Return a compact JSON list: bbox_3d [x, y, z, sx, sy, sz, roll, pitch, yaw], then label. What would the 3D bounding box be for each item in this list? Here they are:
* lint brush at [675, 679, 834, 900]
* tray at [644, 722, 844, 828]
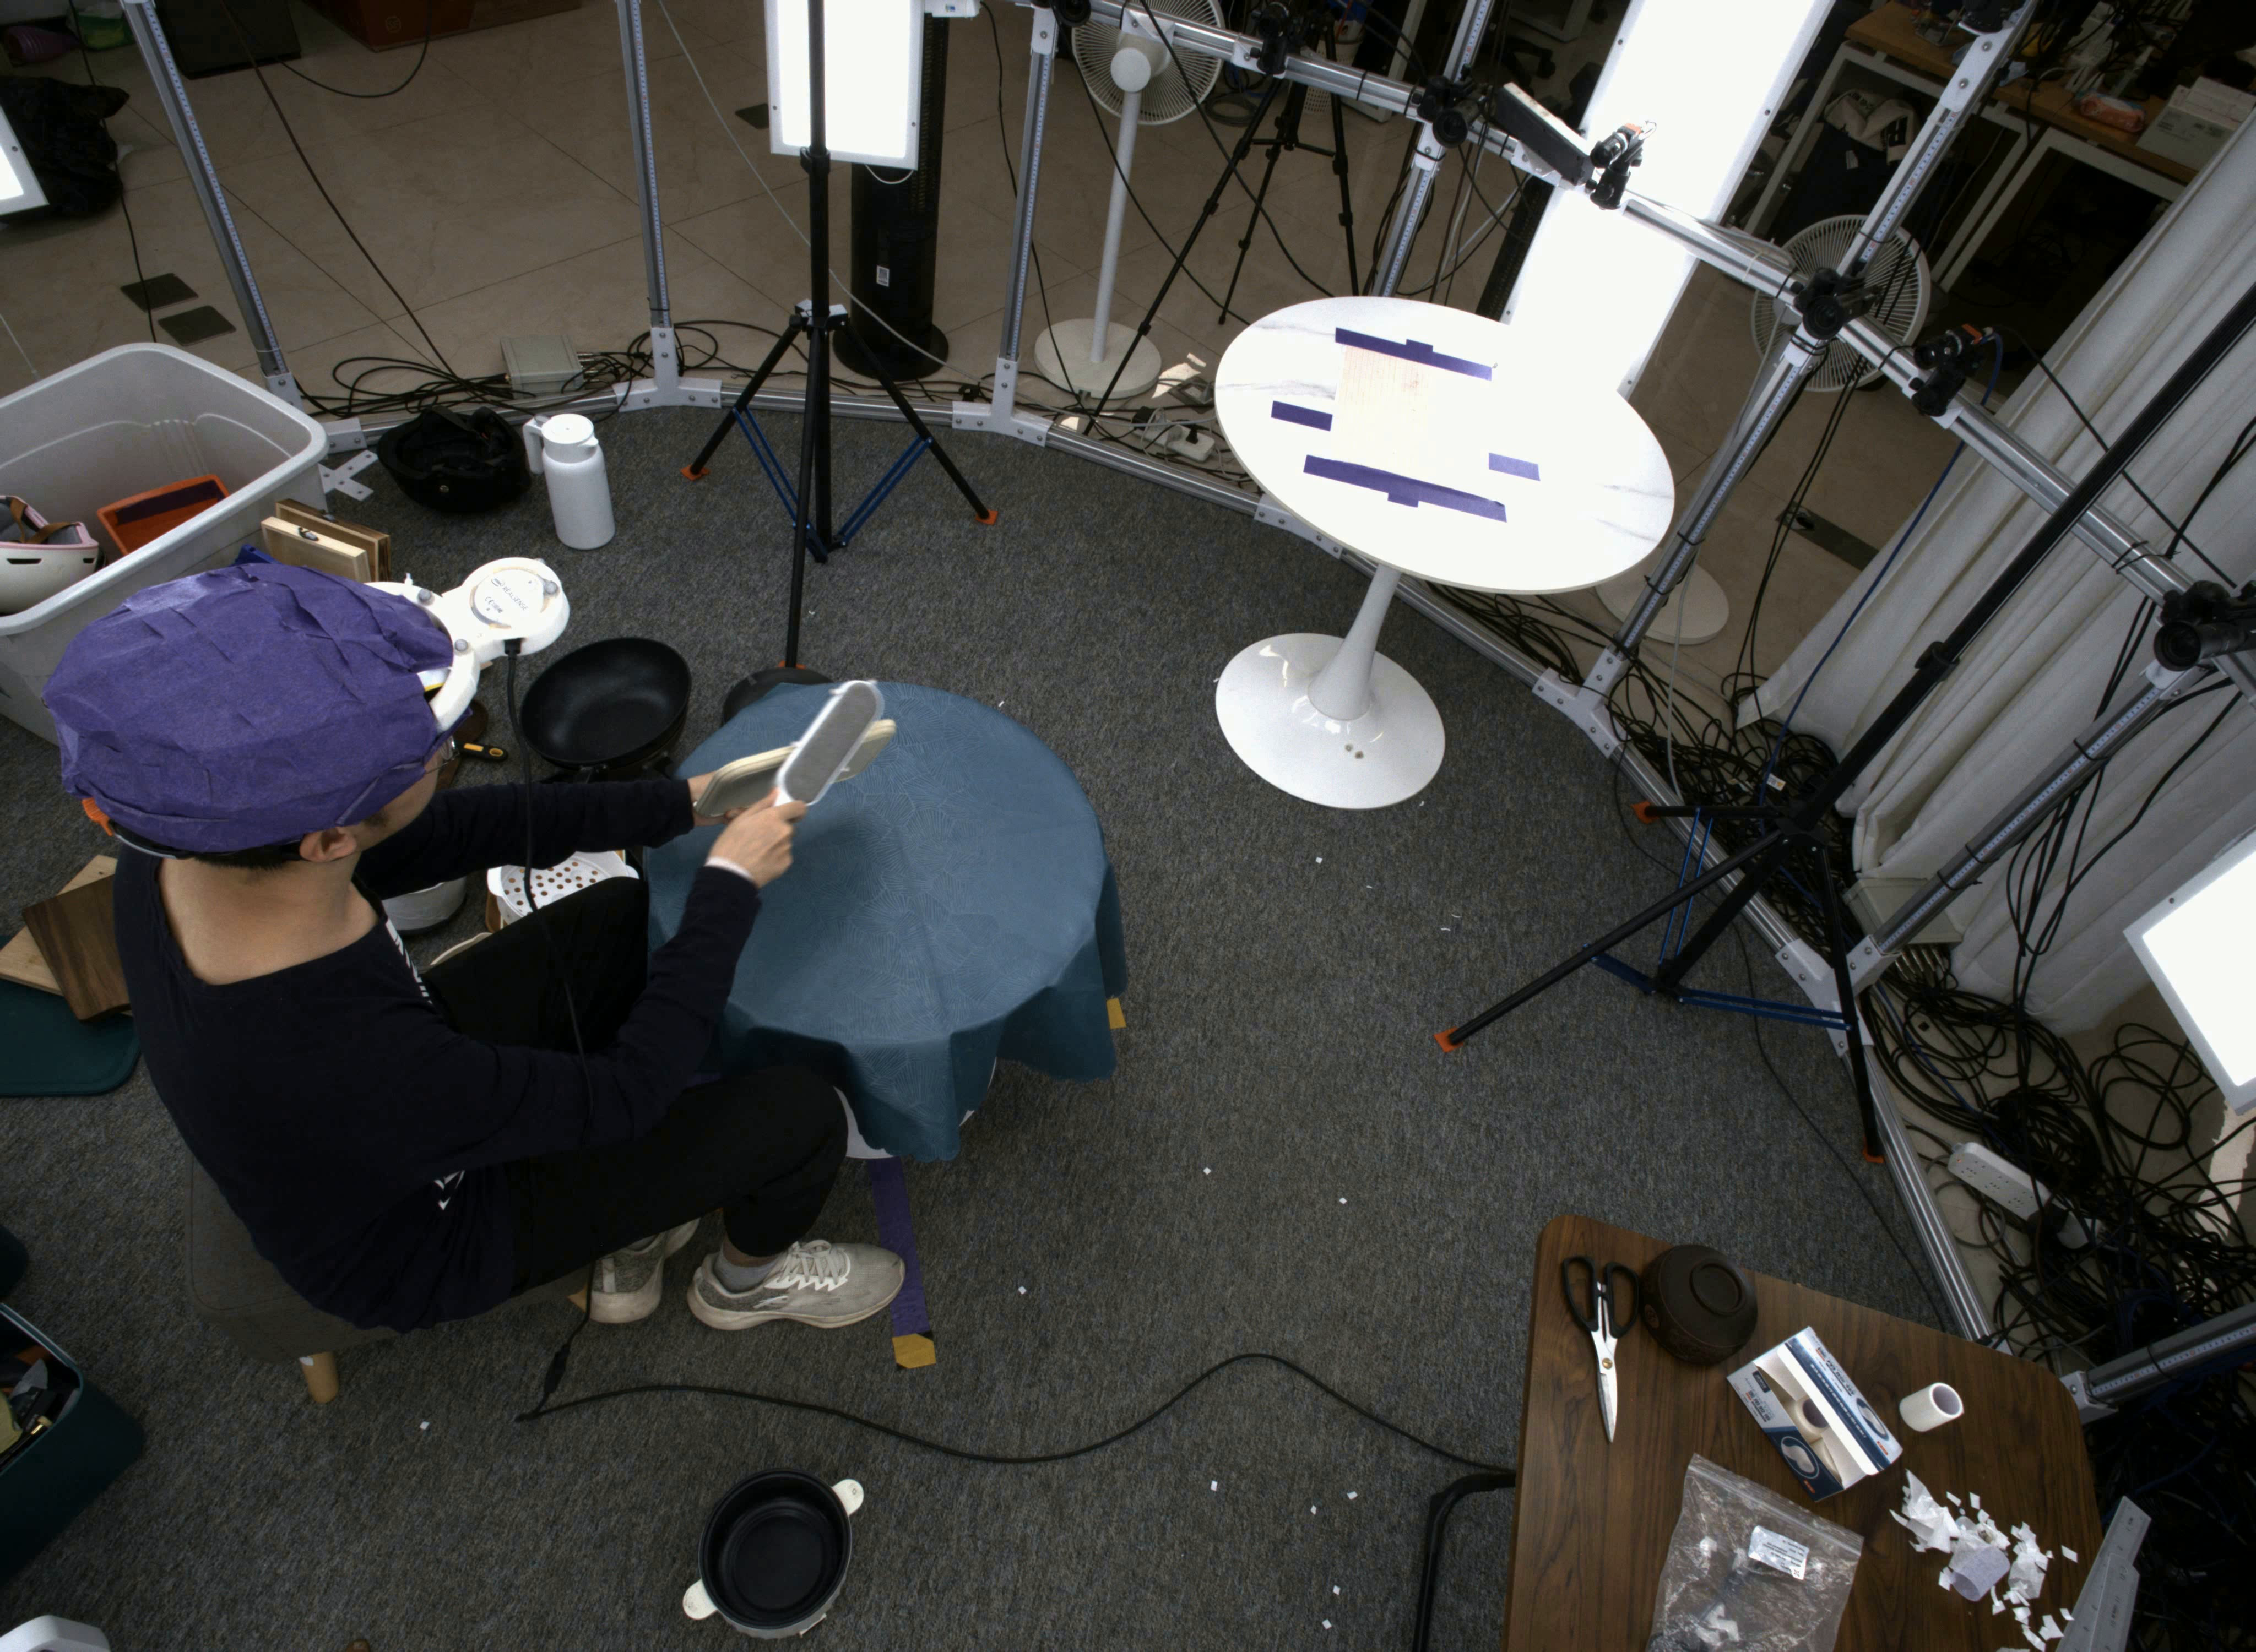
[{"bbox_3d":[-0.430,-0.047,1.486,0.062,0.020,0.308,45,59,-33],"label":"lint brush"},{"bbox_3d":[-0.467,-0.061,1.577,0.241,0.169,0.017,-22,82,-38],"label":"tray"}]
